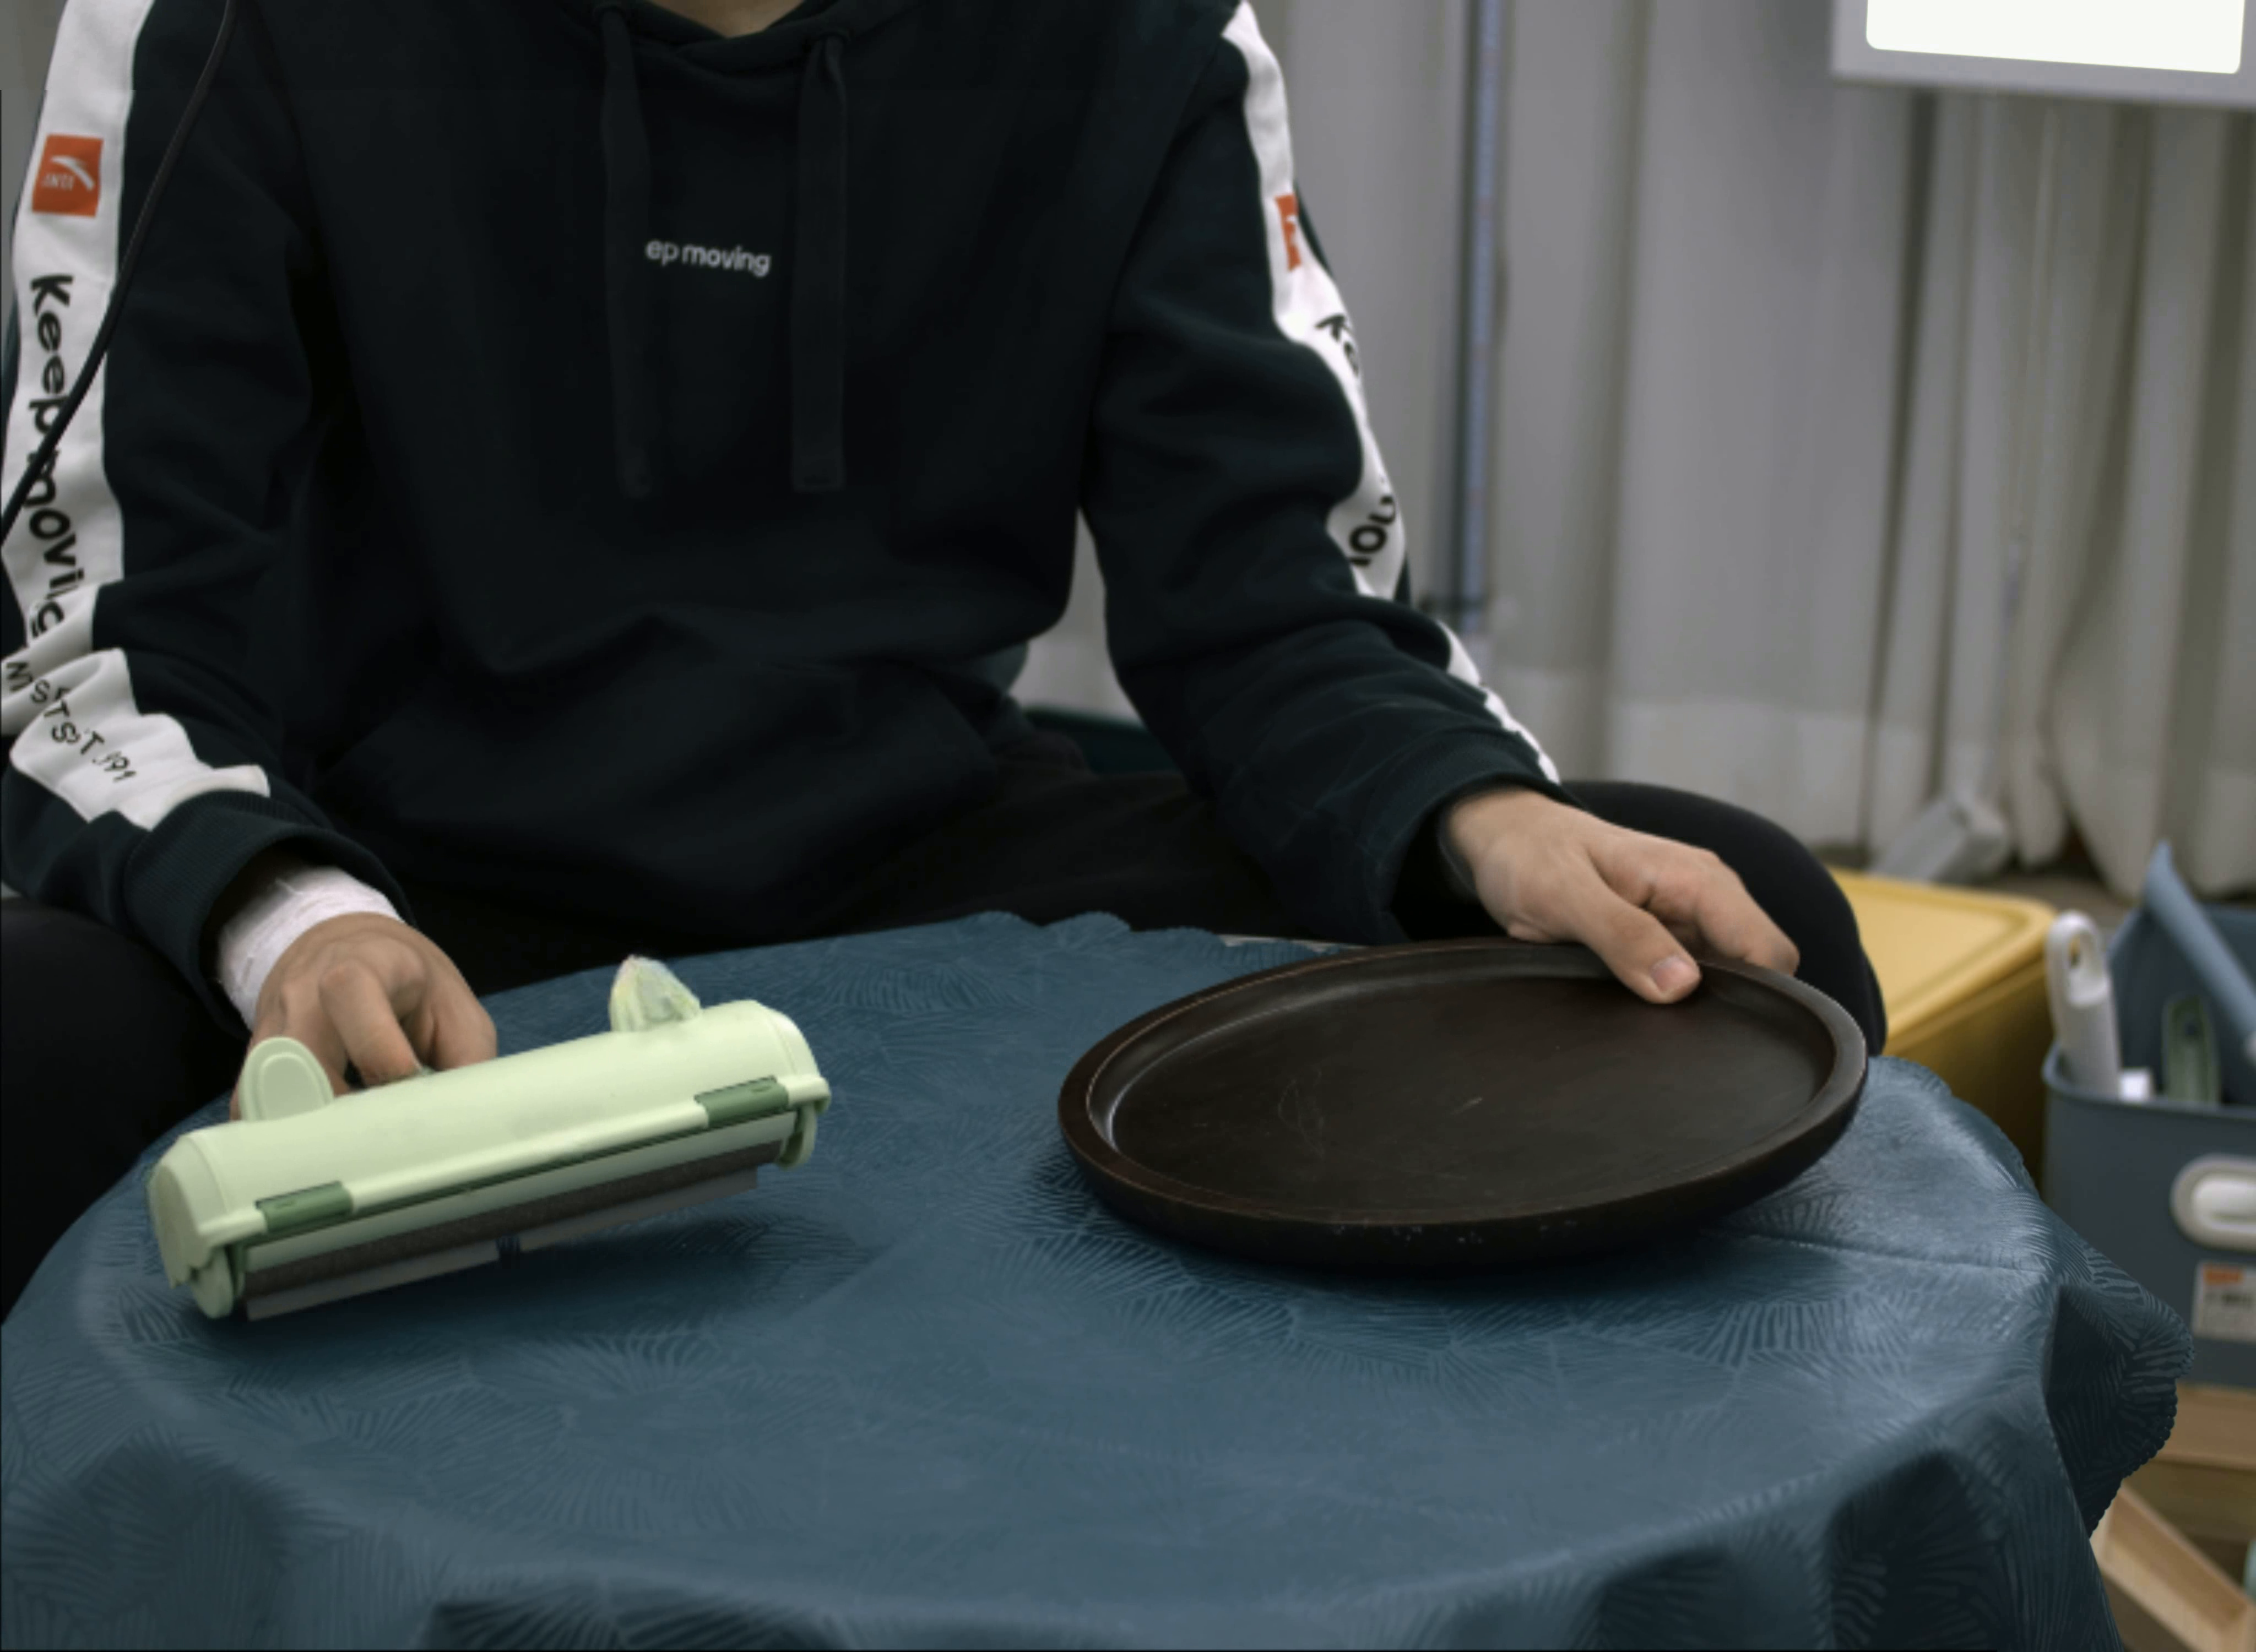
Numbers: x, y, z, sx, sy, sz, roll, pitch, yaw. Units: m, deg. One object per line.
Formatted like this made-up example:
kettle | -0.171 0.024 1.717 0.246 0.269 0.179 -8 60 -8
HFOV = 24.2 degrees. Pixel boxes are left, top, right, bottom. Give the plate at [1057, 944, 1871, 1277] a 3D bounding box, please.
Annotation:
plate | 0.104 0.085 1.637 0.254 0.029 0.253 -5 18 2

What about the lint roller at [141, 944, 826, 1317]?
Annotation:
lint roller | -0.212 0.074 1.577 0.199 0.083 0.181 -13 21 -25
